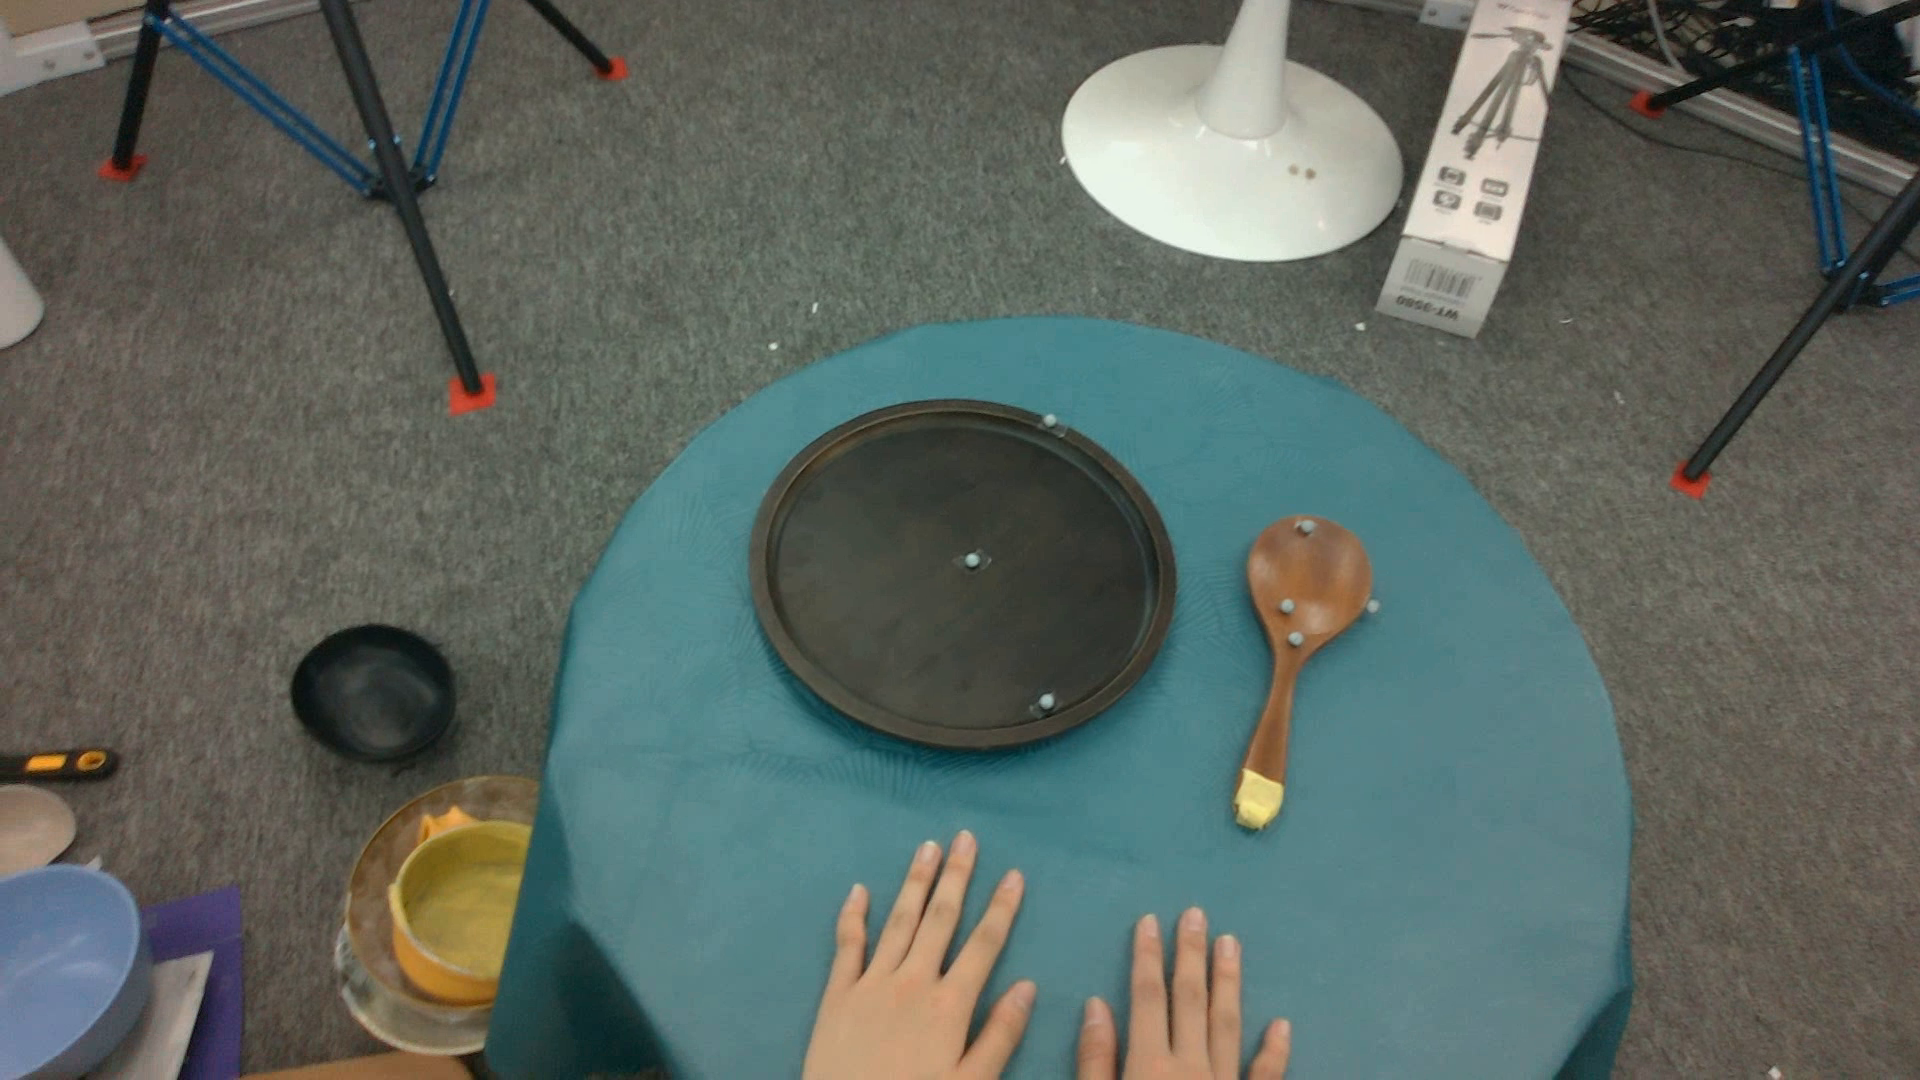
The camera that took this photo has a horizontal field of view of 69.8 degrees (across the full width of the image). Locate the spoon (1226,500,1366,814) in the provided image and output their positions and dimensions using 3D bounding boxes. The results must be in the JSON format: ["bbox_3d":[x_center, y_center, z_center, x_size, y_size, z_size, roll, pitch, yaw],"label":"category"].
[{"bbox_3d":[0.185,0.062,0.791,0.075,0.017,0.217,18,54,7],"label":"spoon"}]

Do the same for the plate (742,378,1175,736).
[{"bbox_3d":[0.000,0.004,0.812,0.255,0.029,0.256,2,53,-3],"label":"plate"}]
